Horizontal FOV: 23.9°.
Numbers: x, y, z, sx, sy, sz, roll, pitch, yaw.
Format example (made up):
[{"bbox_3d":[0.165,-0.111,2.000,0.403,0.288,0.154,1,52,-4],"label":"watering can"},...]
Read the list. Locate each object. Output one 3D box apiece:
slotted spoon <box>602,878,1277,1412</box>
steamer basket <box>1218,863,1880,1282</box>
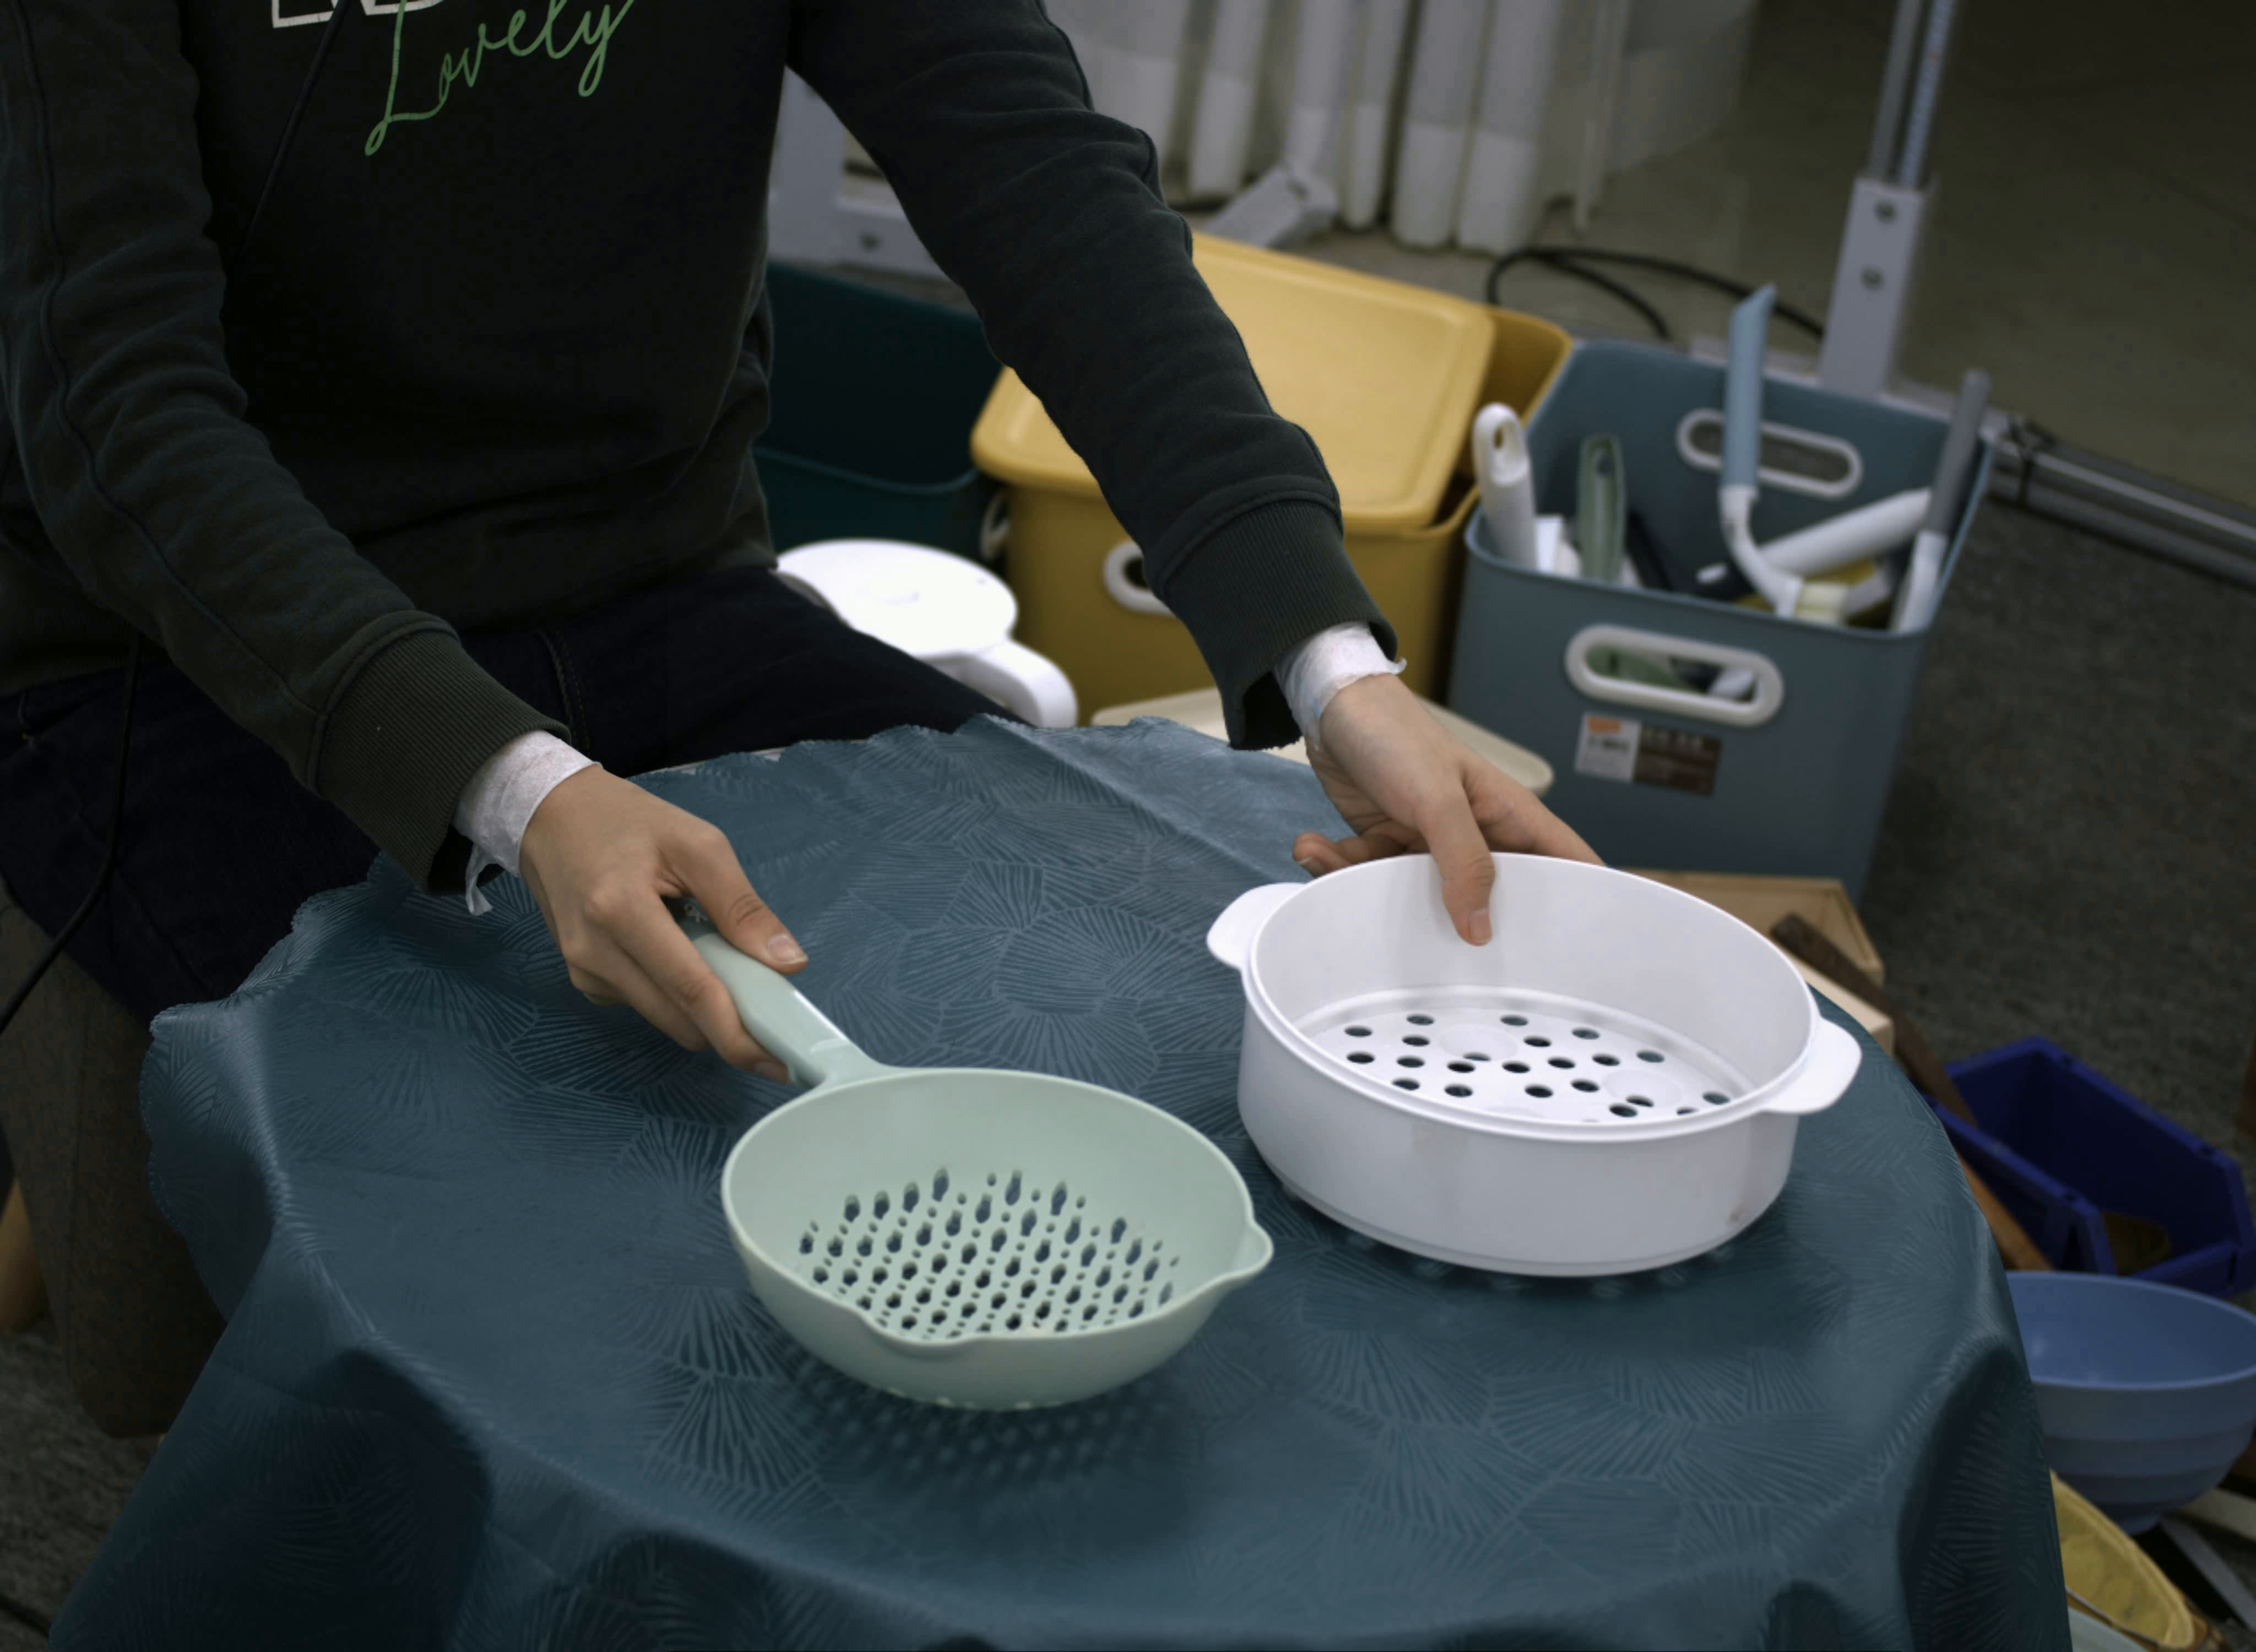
[{"bbox_3d":[-0.093,0.089,1.758,0.168,0.075,0.362,-10,36,-28],"label":"slotted spoon"},{"bbox_3d":[0.141,0.085,1.832,0.231,0.069,0.202,14,27,18],"label":"steamer basket"}]
